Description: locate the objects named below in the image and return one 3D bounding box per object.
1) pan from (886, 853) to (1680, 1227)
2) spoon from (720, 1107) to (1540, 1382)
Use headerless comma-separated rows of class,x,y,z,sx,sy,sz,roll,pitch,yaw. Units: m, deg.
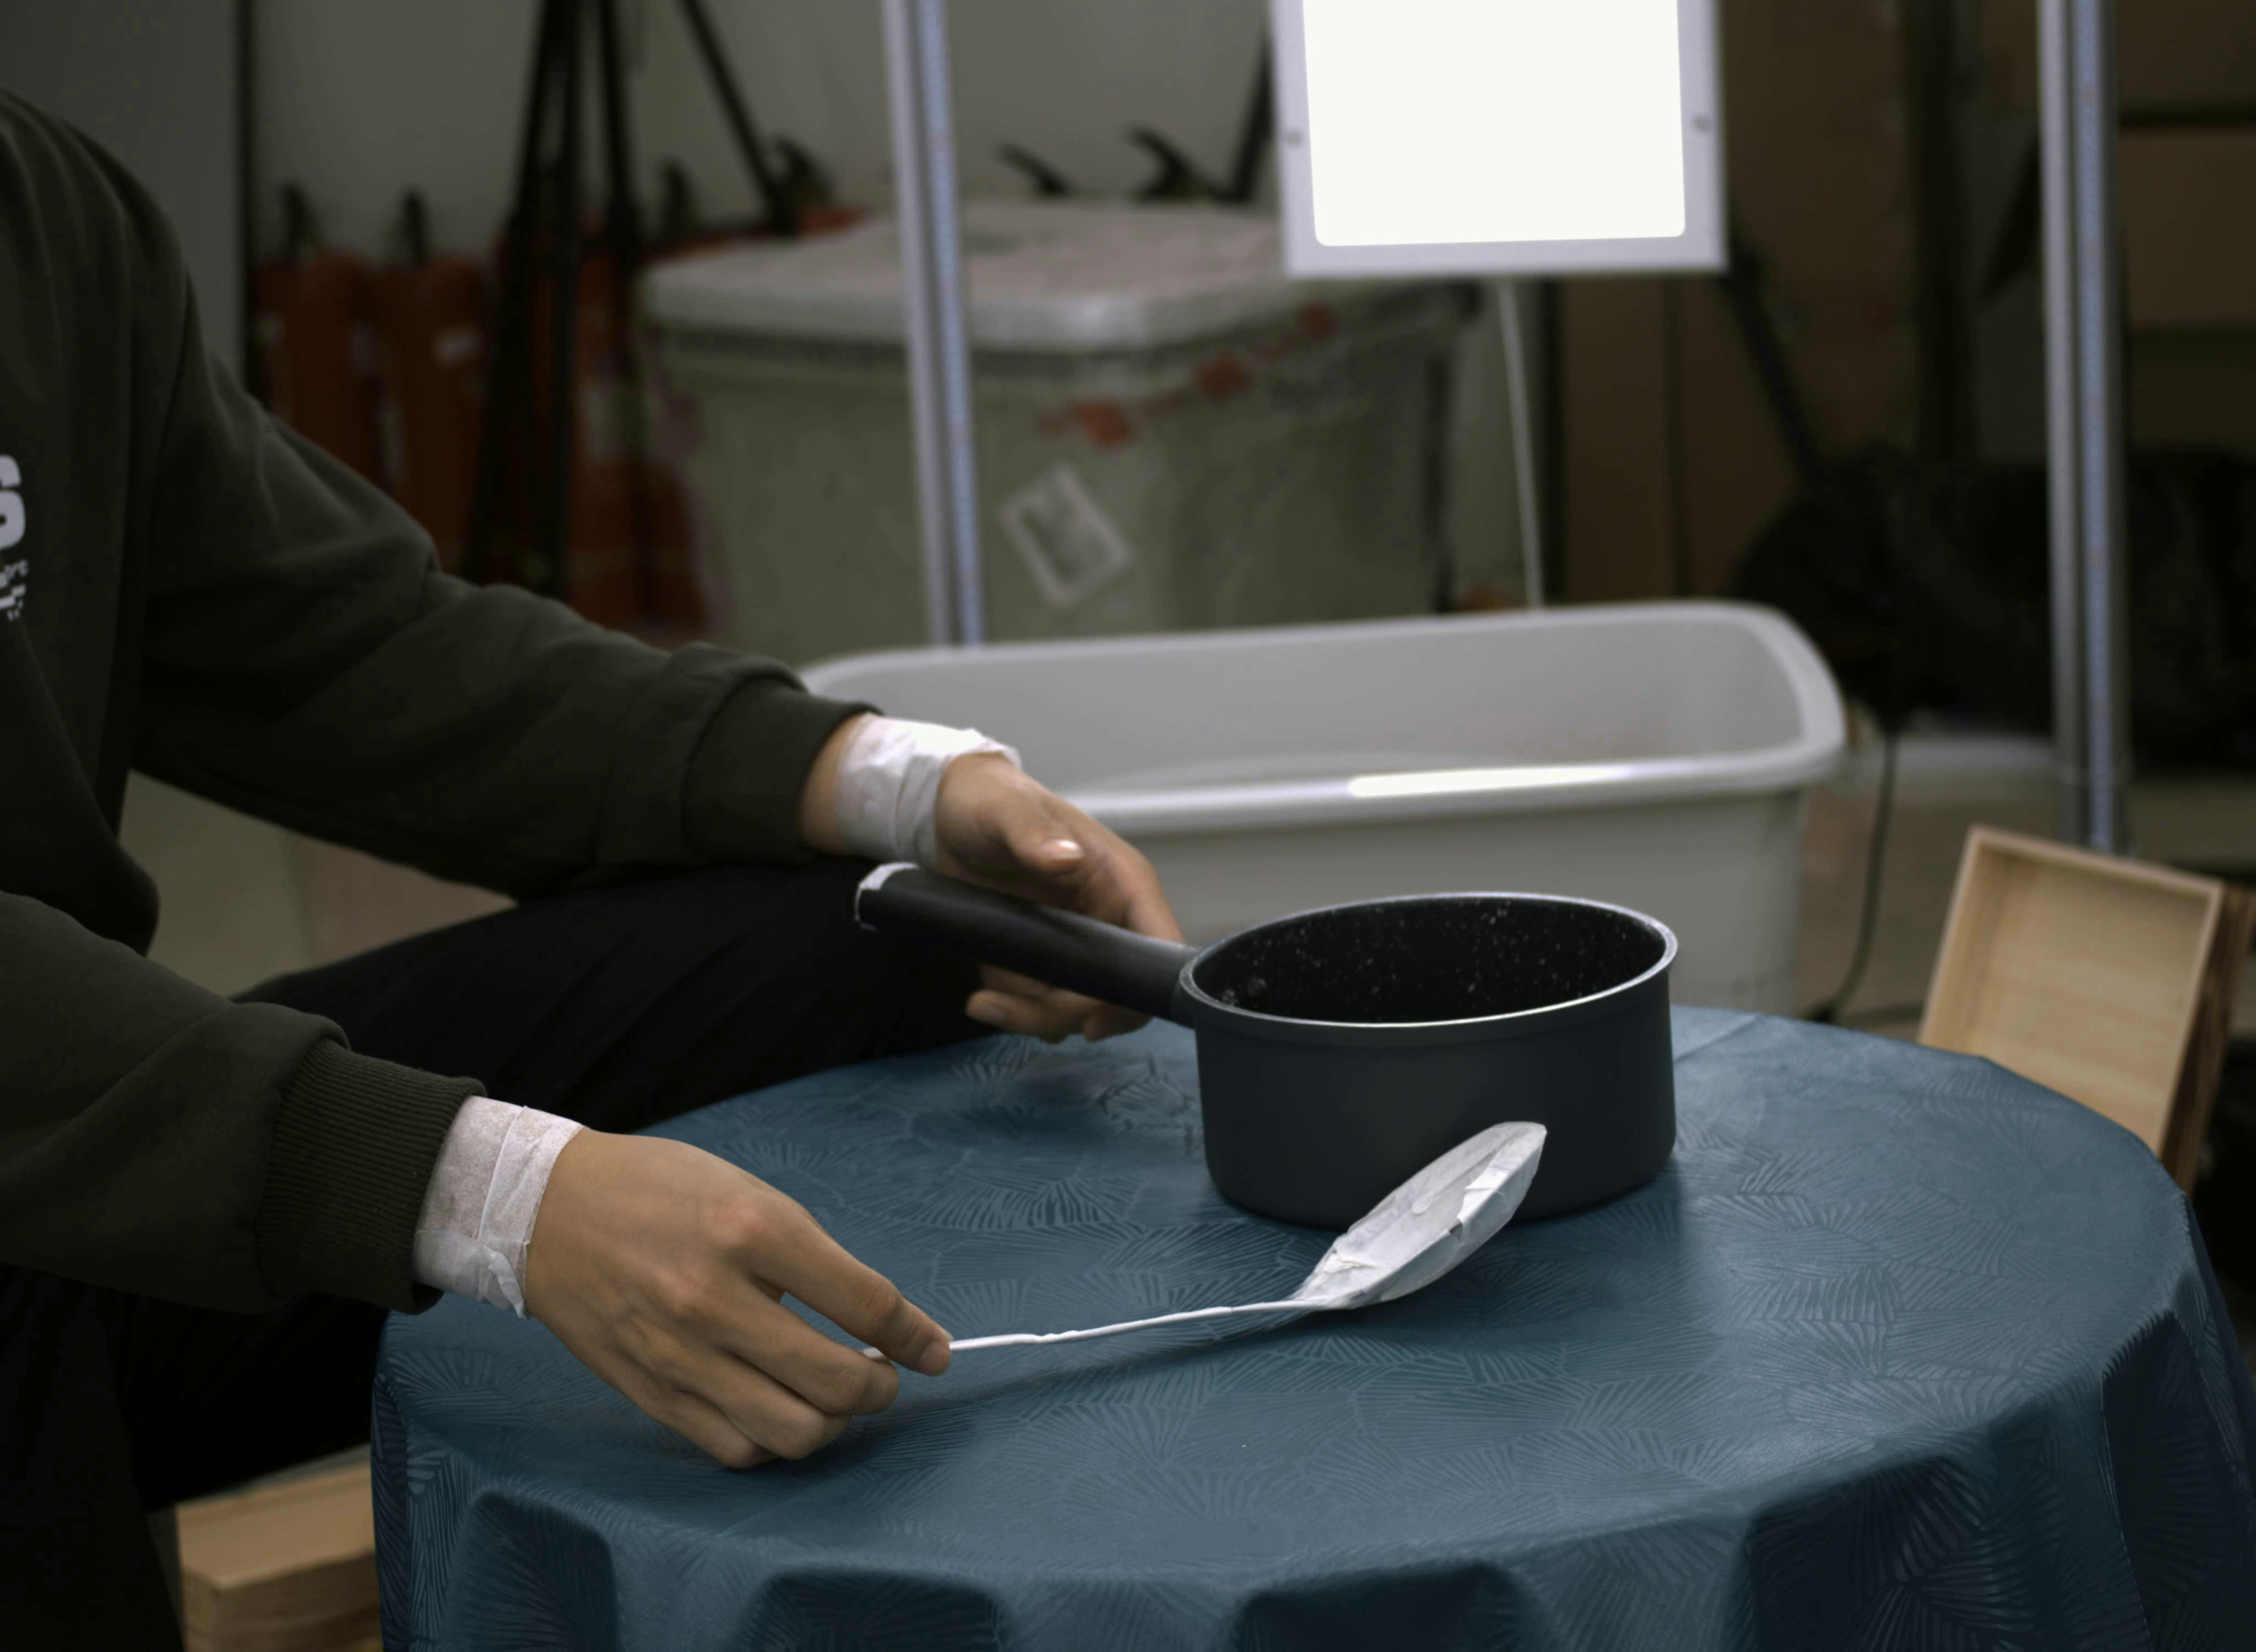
pan,0.045,0.070,1.943,0.336,0.087,0.167,8,17,40
spoon,0.001,0.132,1.741,0.273,0.059,0.102,-5,-6,-16
